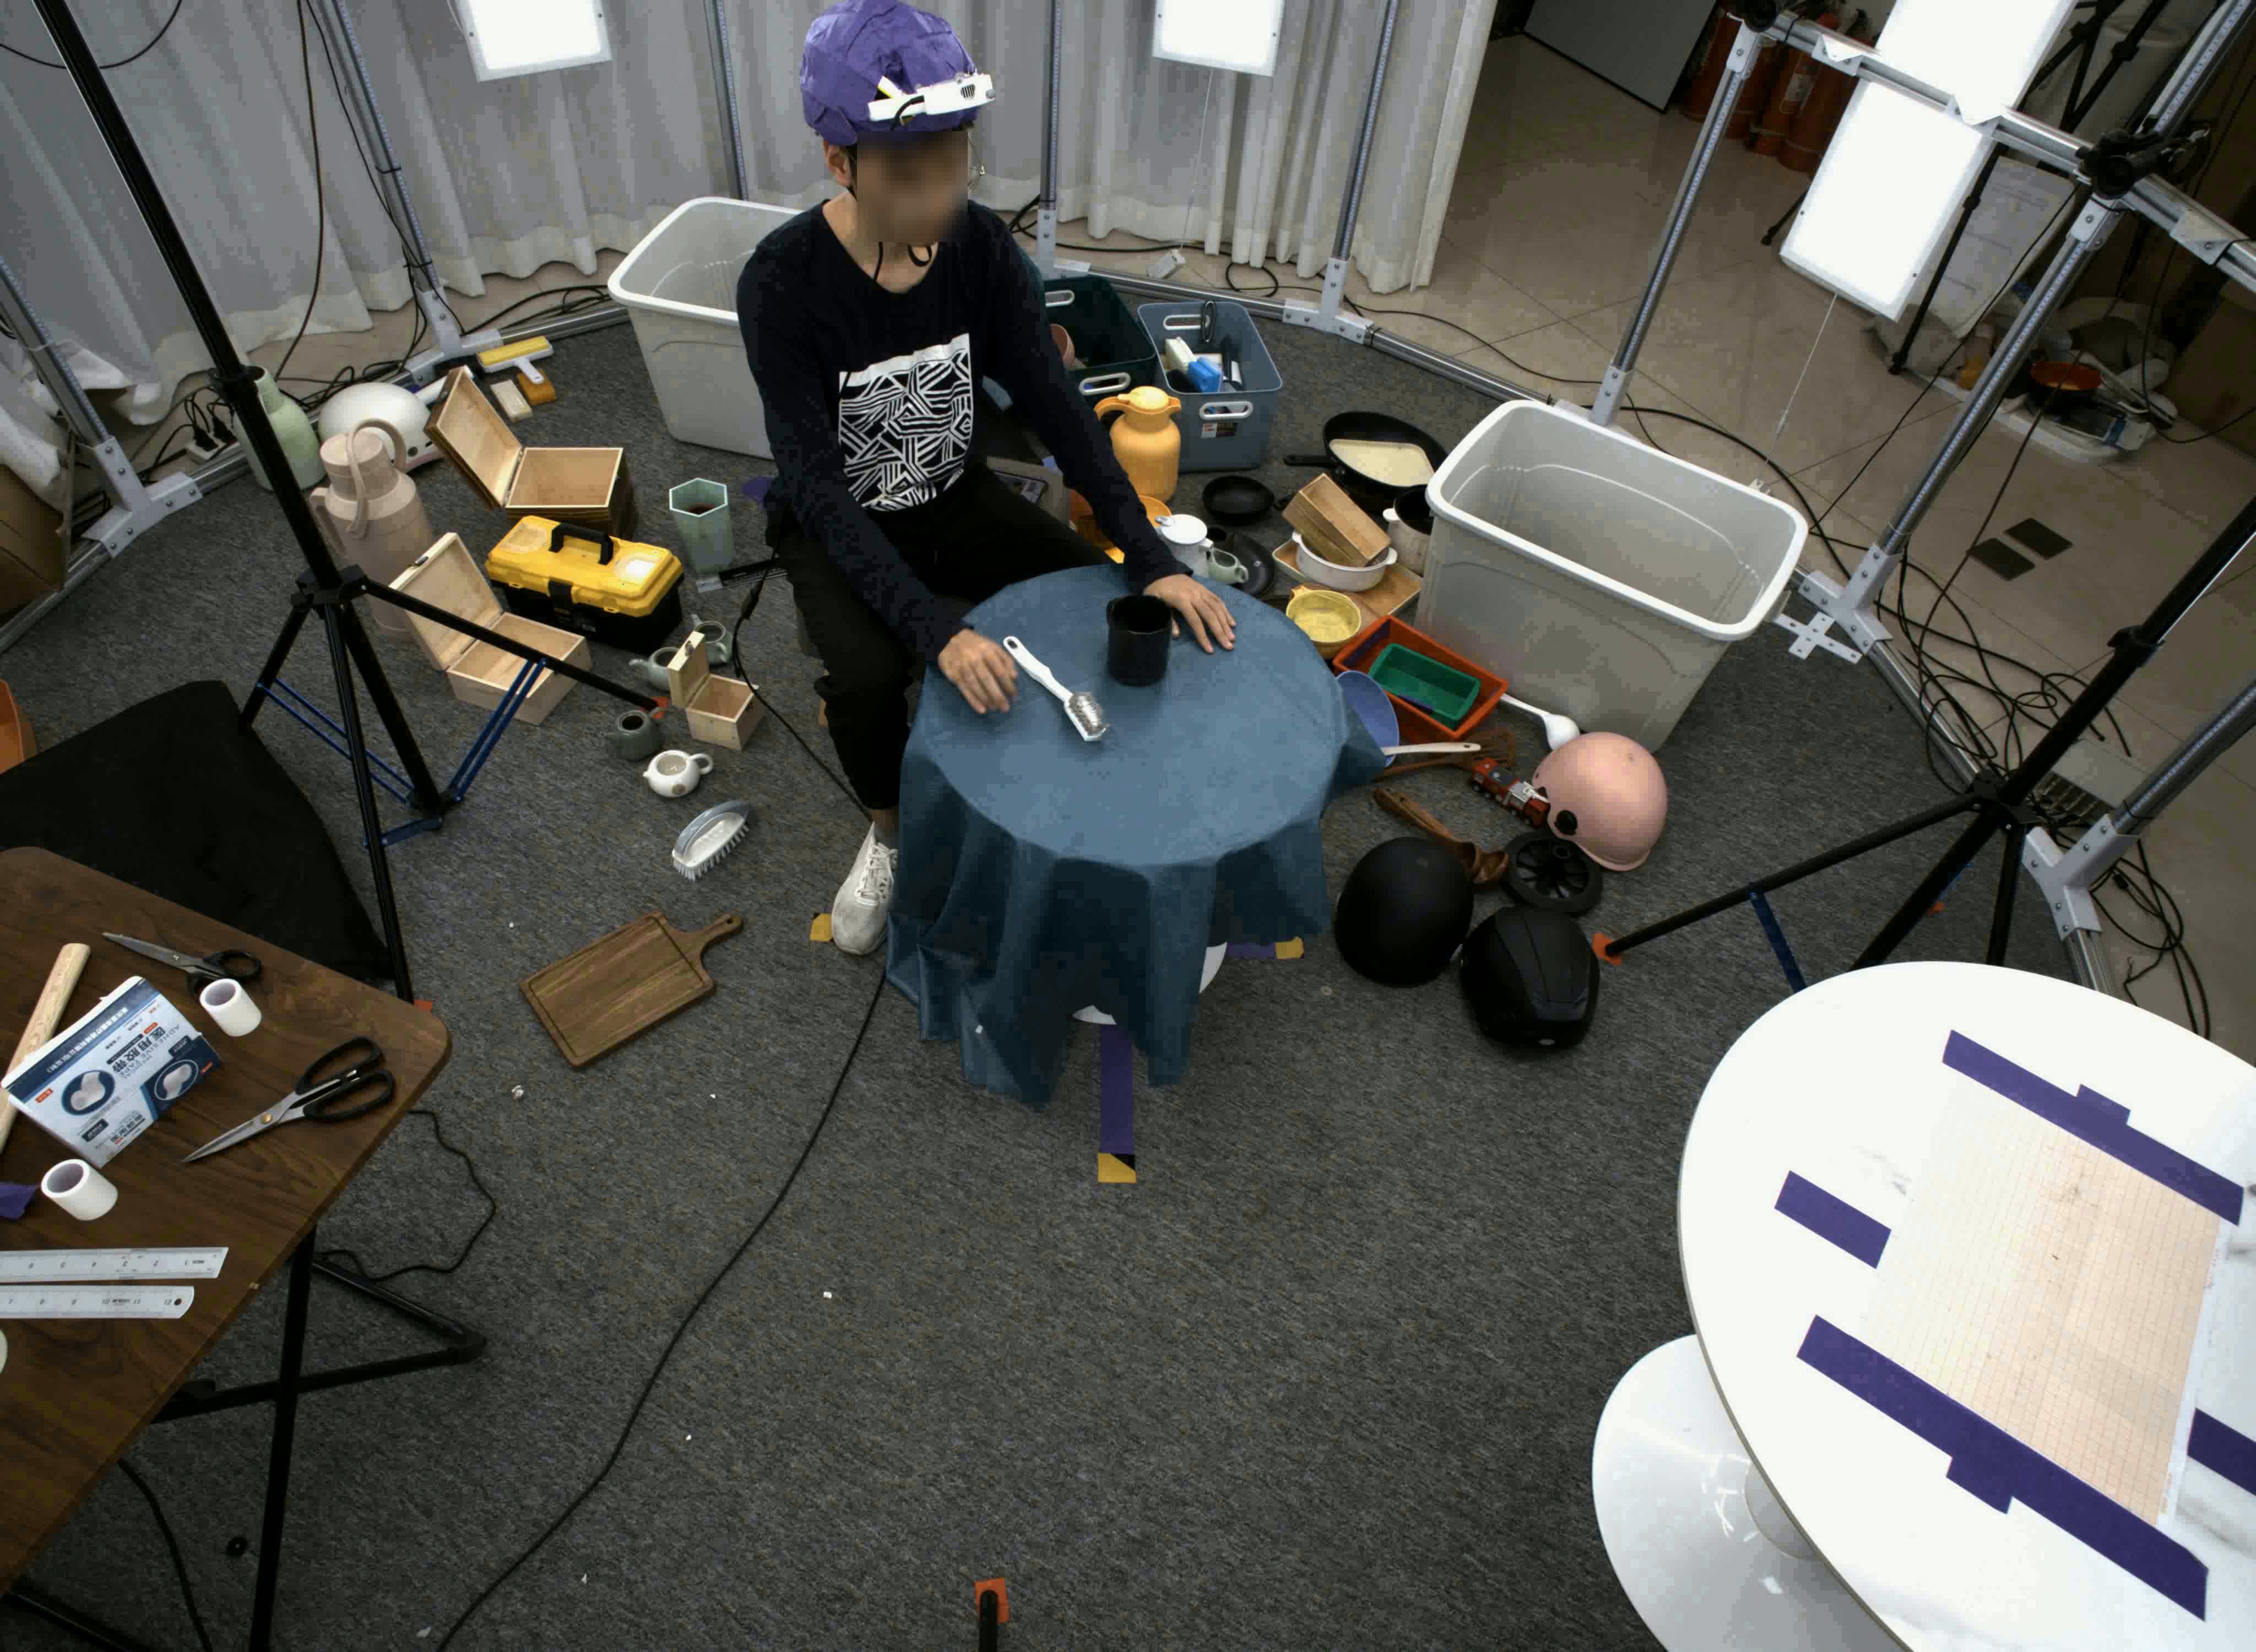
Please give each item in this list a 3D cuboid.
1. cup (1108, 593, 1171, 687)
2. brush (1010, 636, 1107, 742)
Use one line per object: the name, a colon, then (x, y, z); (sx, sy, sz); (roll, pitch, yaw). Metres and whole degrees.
cup: (0.007, -0.277, 1.842); (0.089, 0.102, 0.126); (-23, 52, -19)
brush: (-0.103, -0.207, 1.811); (0.034, 0.049, 0.249); (-26, 55, -18)
